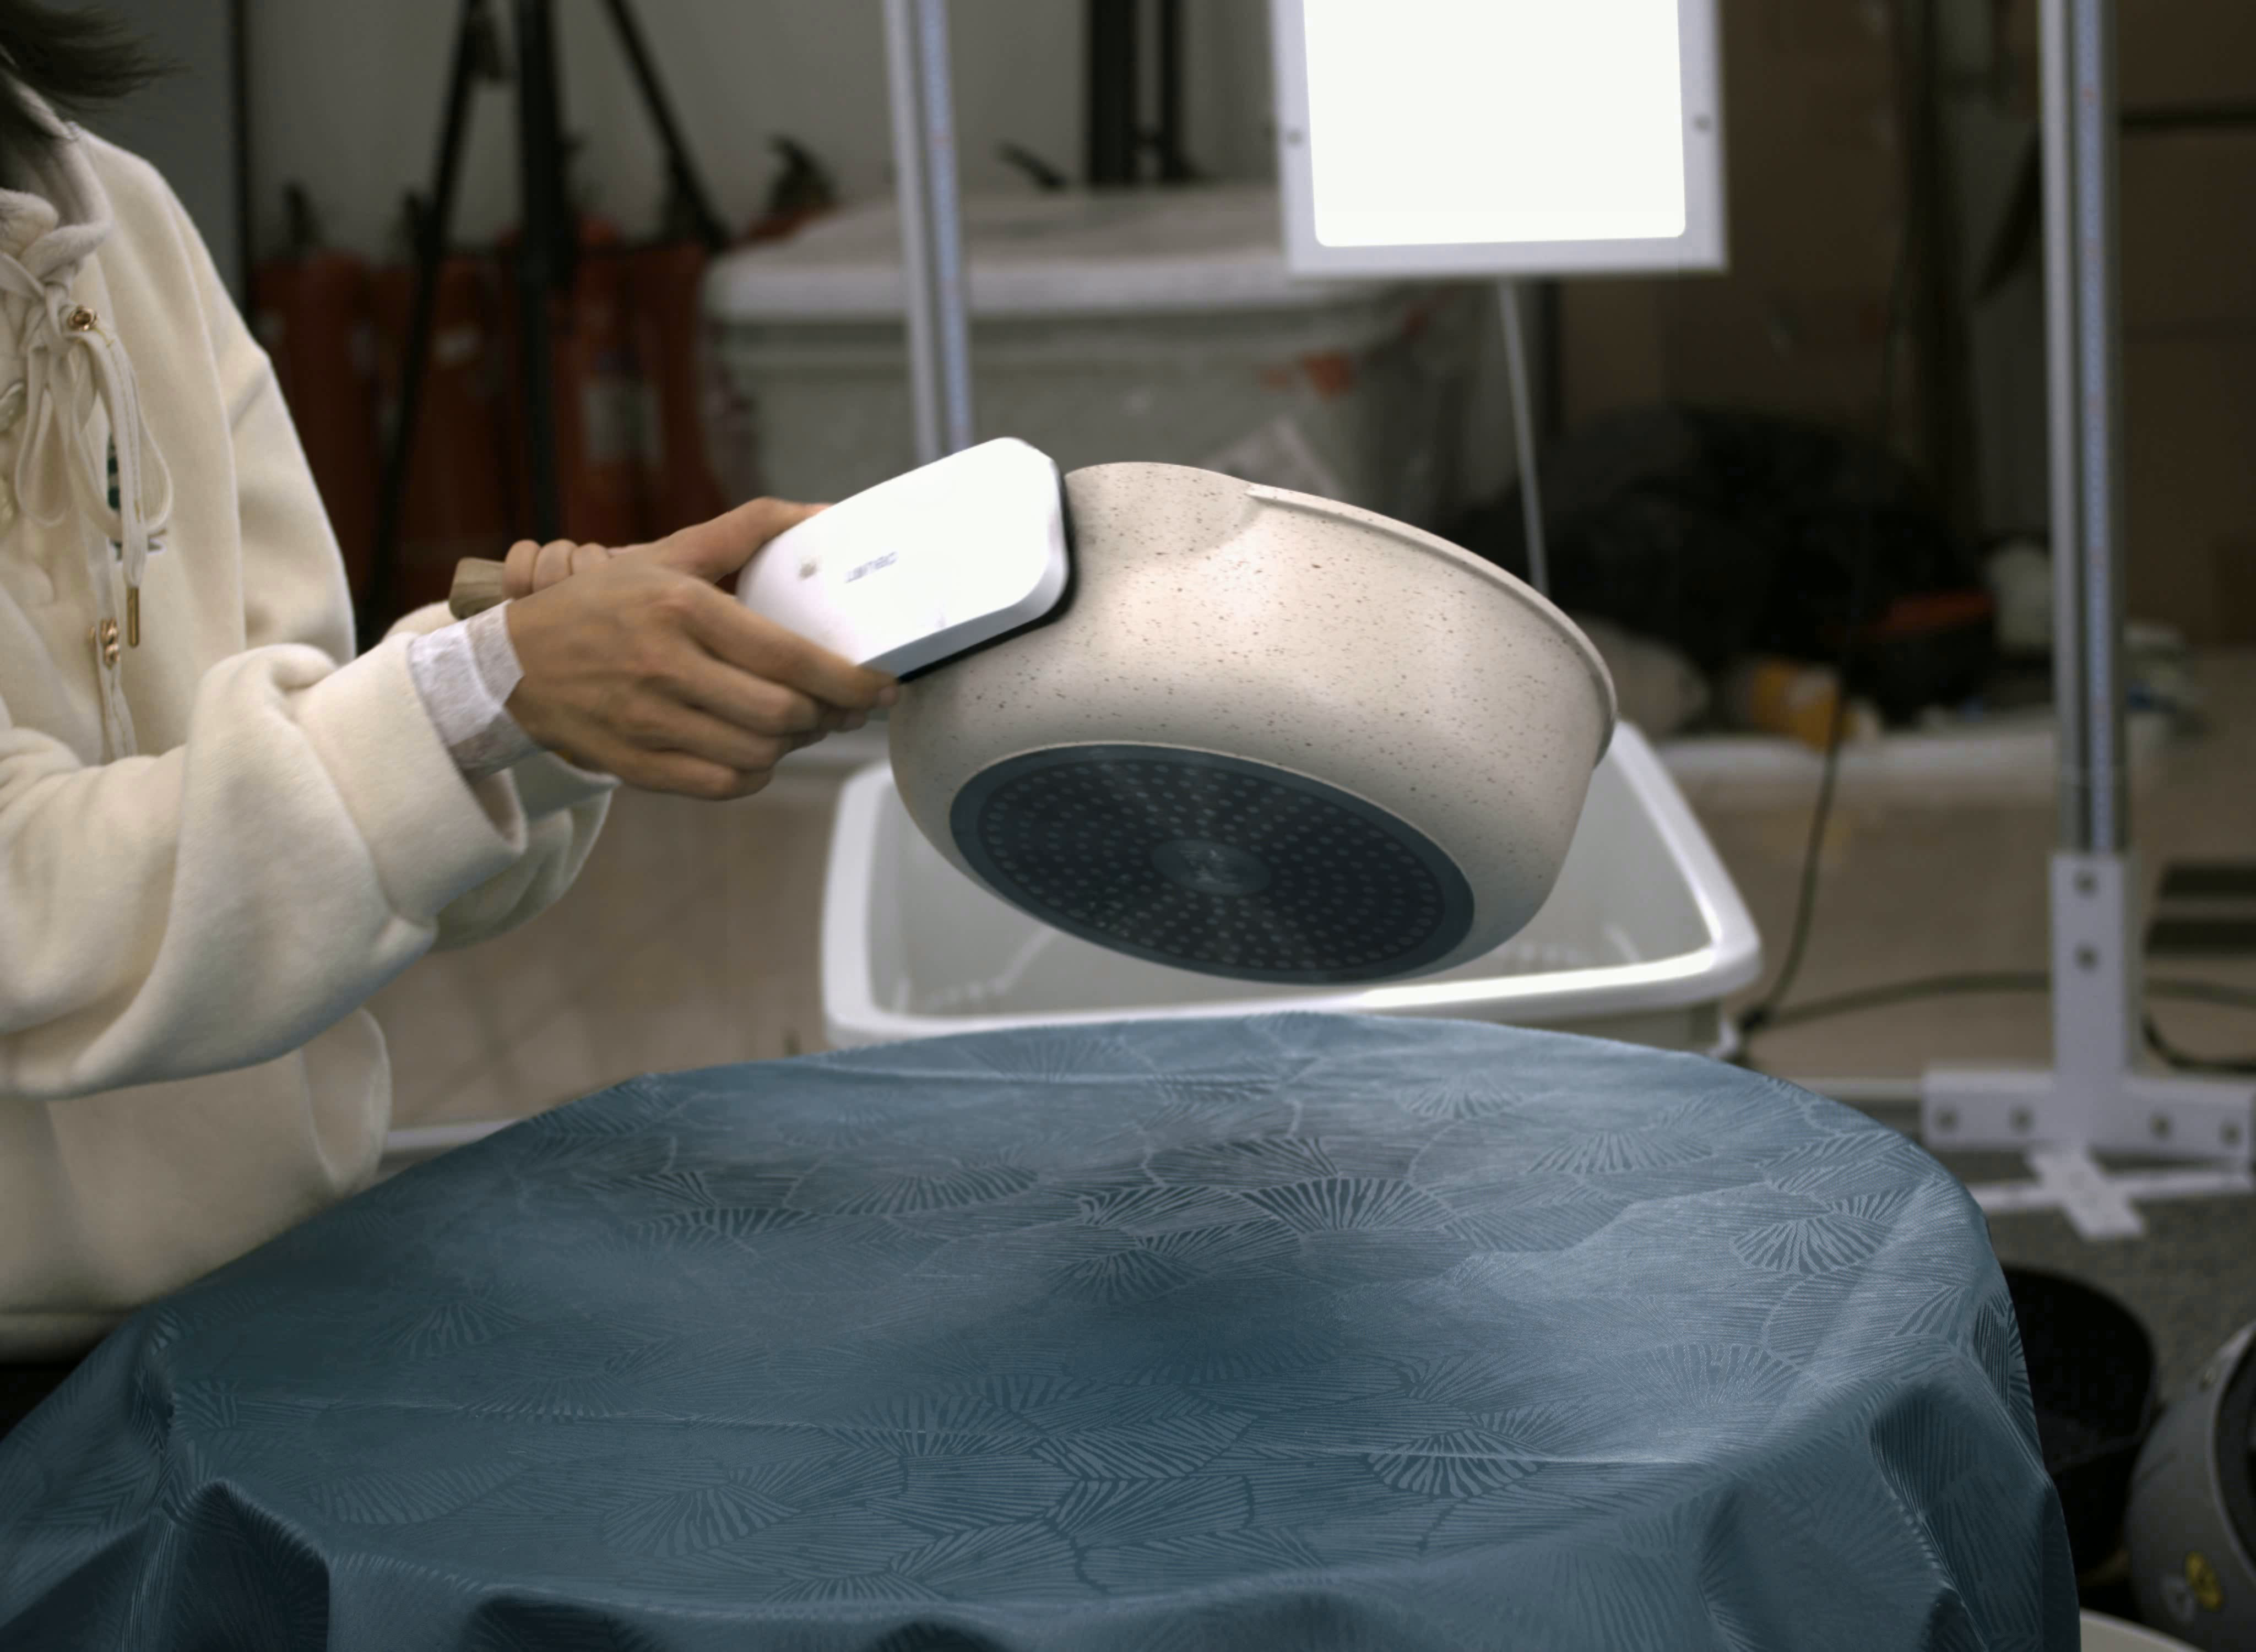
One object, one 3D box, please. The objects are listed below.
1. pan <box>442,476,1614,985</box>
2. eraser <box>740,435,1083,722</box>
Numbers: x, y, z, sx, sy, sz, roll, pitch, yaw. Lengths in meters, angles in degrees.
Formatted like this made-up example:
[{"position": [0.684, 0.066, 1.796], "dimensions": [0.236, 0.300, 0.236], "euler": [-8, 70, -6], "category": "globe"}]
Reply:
[{"position": [-0.050, -0.034, 1.904], "dimensions": [0.441, 0.101, 0.261], "euler": [4, -24, 22], "category": "pan"}, {"position": [-0.073, -0.081, 1.797], "dimensions": [0.134, 0.063, 0.034], "euler": [-21, -31, 34], "category": "eraser"}]
